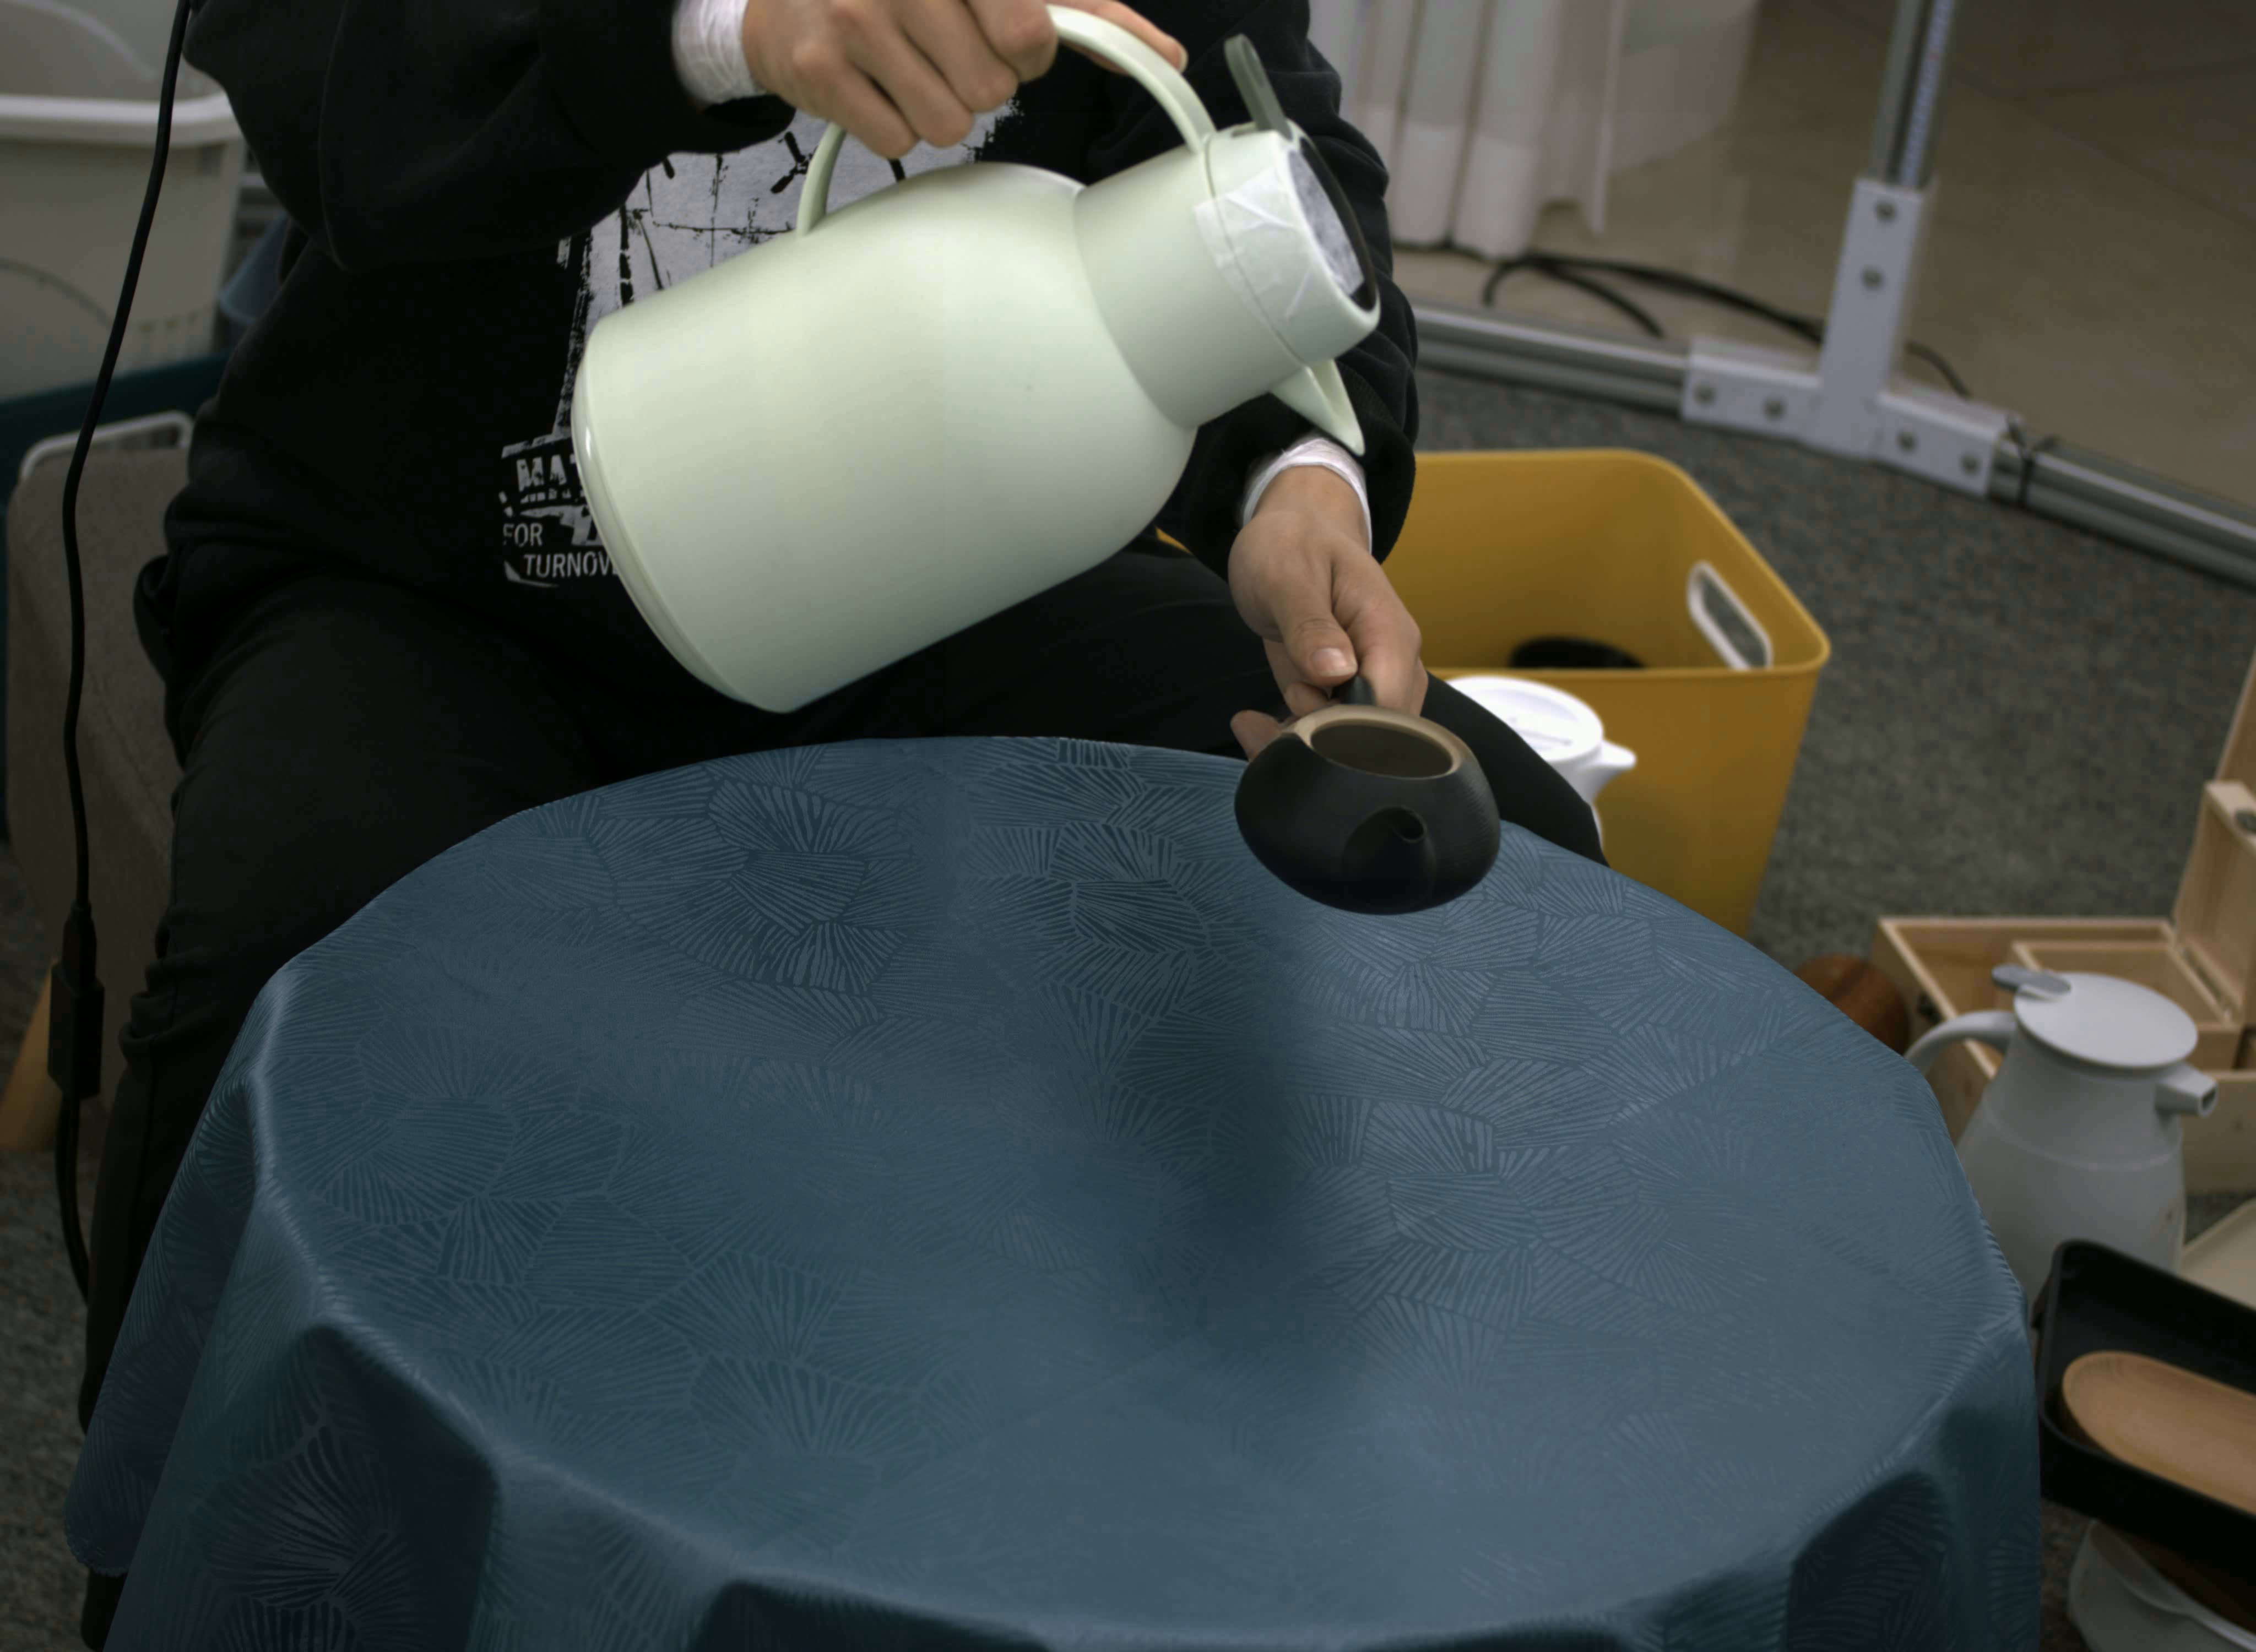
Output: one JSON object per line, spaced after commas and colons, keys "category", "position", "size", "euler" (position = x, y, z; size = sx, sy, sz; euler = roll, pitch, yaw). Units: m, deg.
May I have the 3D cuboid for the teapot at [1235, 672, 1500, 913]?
{"category": "teapot", "position": [0.082, -0.006, 1.800], "size": [0.090, 0.053, 0.134], "euler": [6, 26, -11]}

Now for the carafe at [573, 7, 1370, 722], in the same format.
{"category": "carafe", "position": [-0.053, -0.158, 1.745], "size": [0.257, 0.186, 0.144], "euler": [-28, 11, 20]}
